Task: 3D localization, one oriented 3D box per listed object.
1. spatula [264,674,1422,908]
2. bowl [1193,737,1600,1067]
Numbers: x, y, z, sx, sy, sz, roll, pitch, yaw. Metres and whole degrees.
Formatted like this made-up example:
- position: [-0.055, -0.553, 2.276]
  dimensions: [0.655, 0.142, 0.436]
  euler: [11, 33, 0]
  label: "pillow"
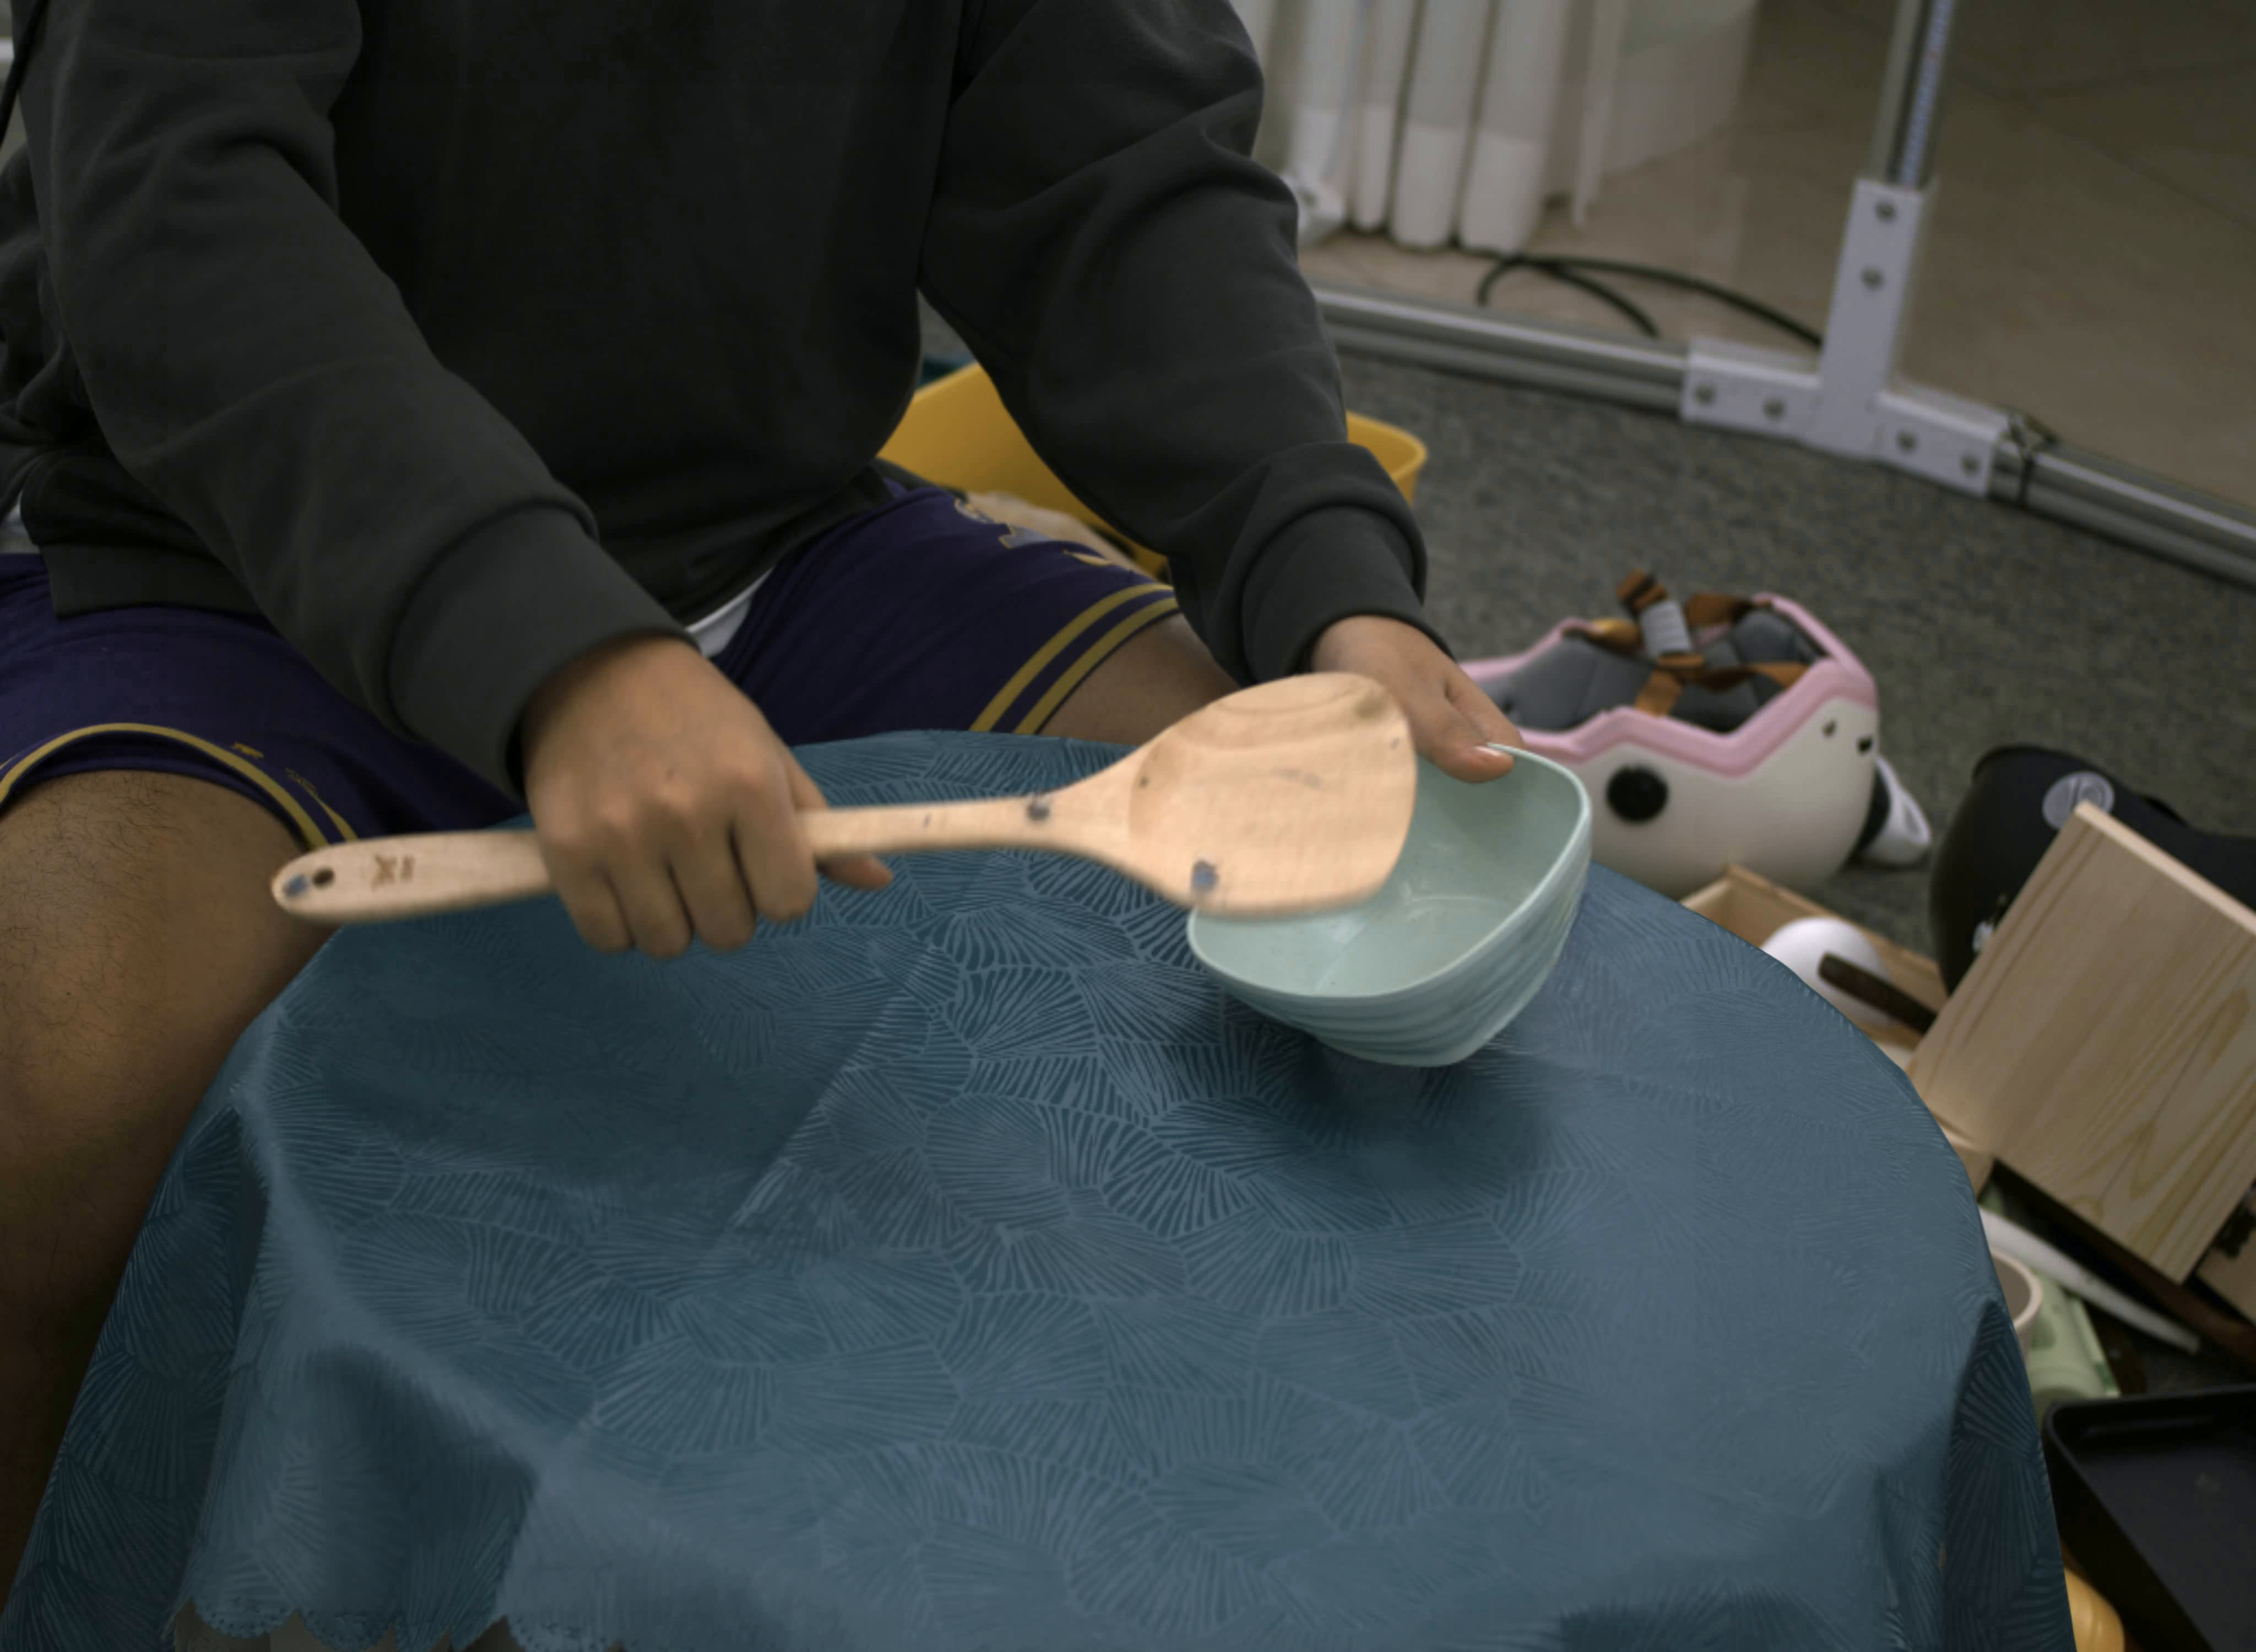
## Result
- position: [-0.097, 0.002, 1.738]
  dimensions: [0.390, 0.018, 0.096]
  euler: [-5, 43, 9]
  label: "spatula"
- position: [0.103, 0.035, 1.895]
  dimensions: [0.151, 0.058, 0.152]
  euler: [-16, 34, 11]
  label: "bowl"
